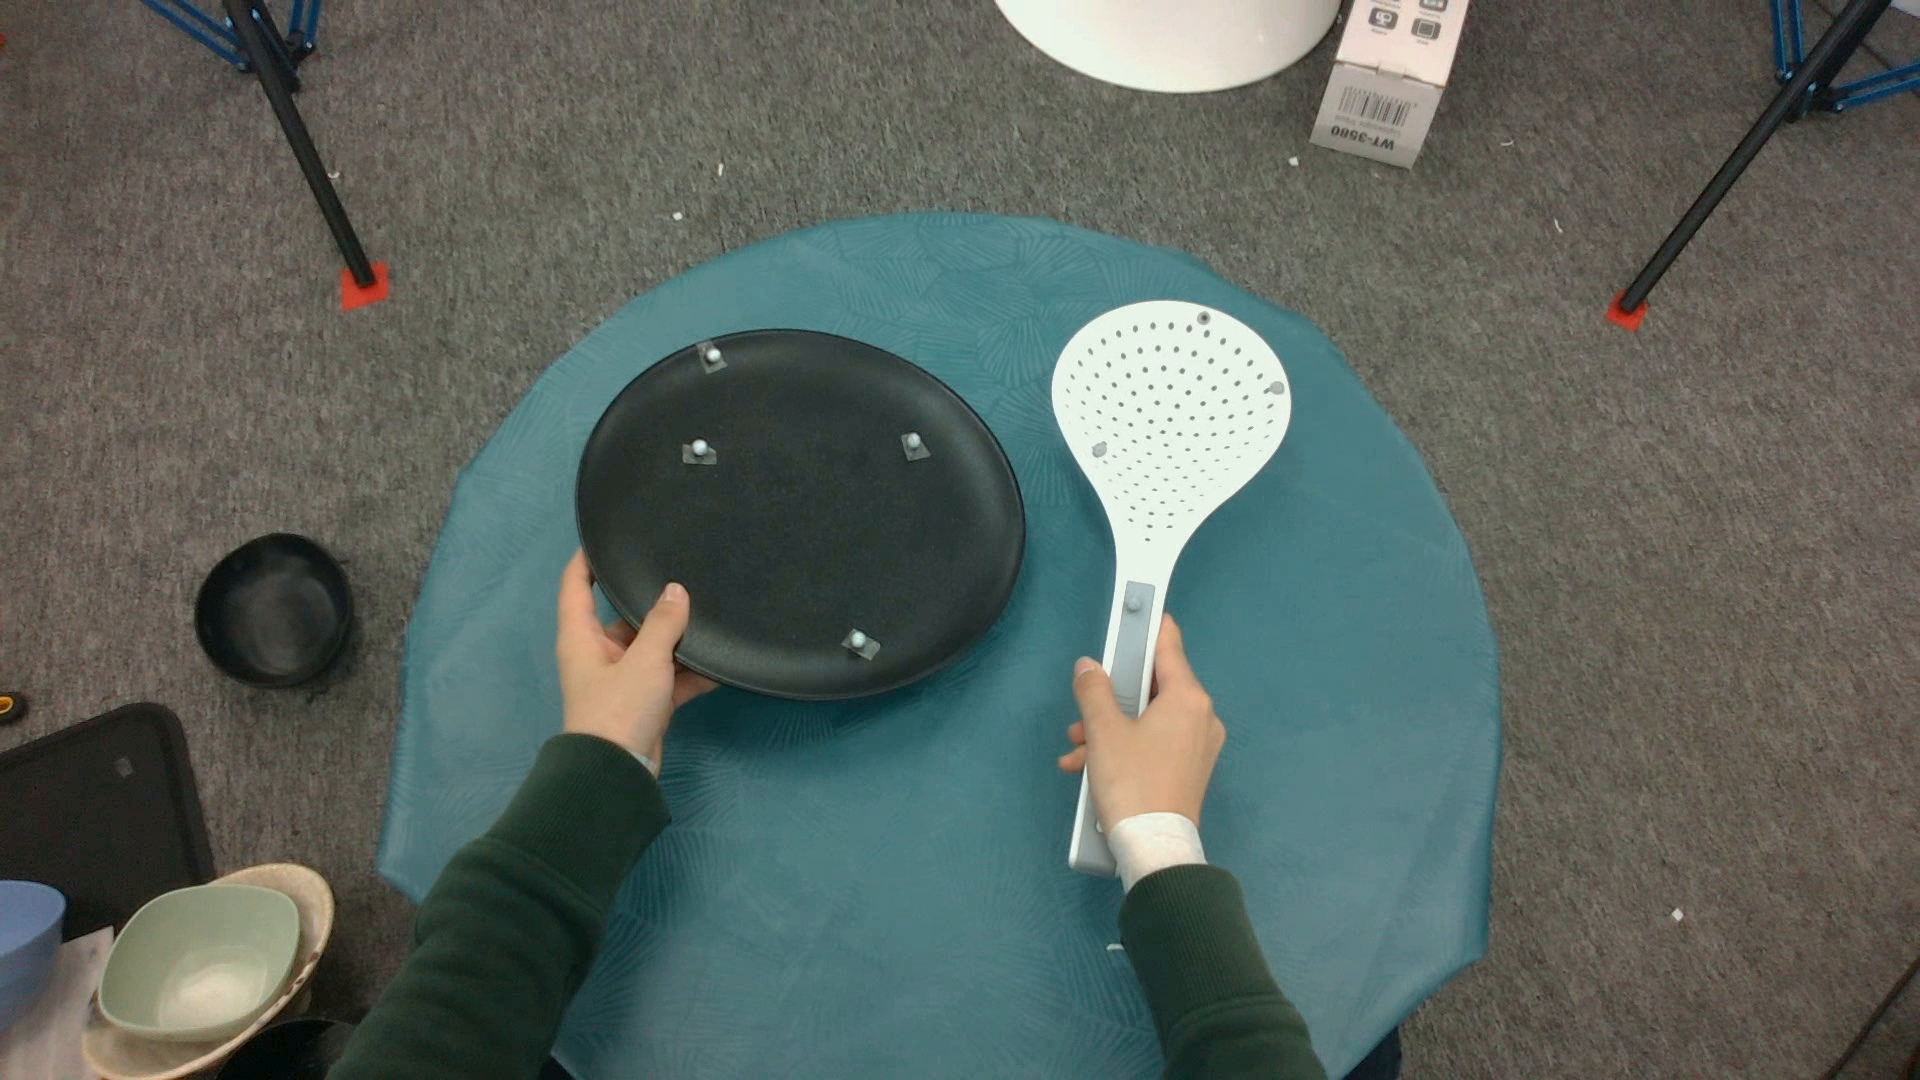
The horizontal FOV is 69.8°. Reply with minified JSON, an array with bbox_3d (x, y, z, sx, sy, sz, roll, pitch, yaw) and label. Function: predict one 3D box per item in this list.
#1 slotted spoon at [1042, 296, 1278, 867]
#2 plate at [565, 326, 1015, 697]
[{"bbox_3d":[0.093,0.007,0.746,0.136,0.045,0.351,9,55,7],"label":"slotted spoon"},{"bbox_3d":[-0.090,-0.020,0.755,0.244,0.023,0.245,8,55,-11],"label":"plate"}]
